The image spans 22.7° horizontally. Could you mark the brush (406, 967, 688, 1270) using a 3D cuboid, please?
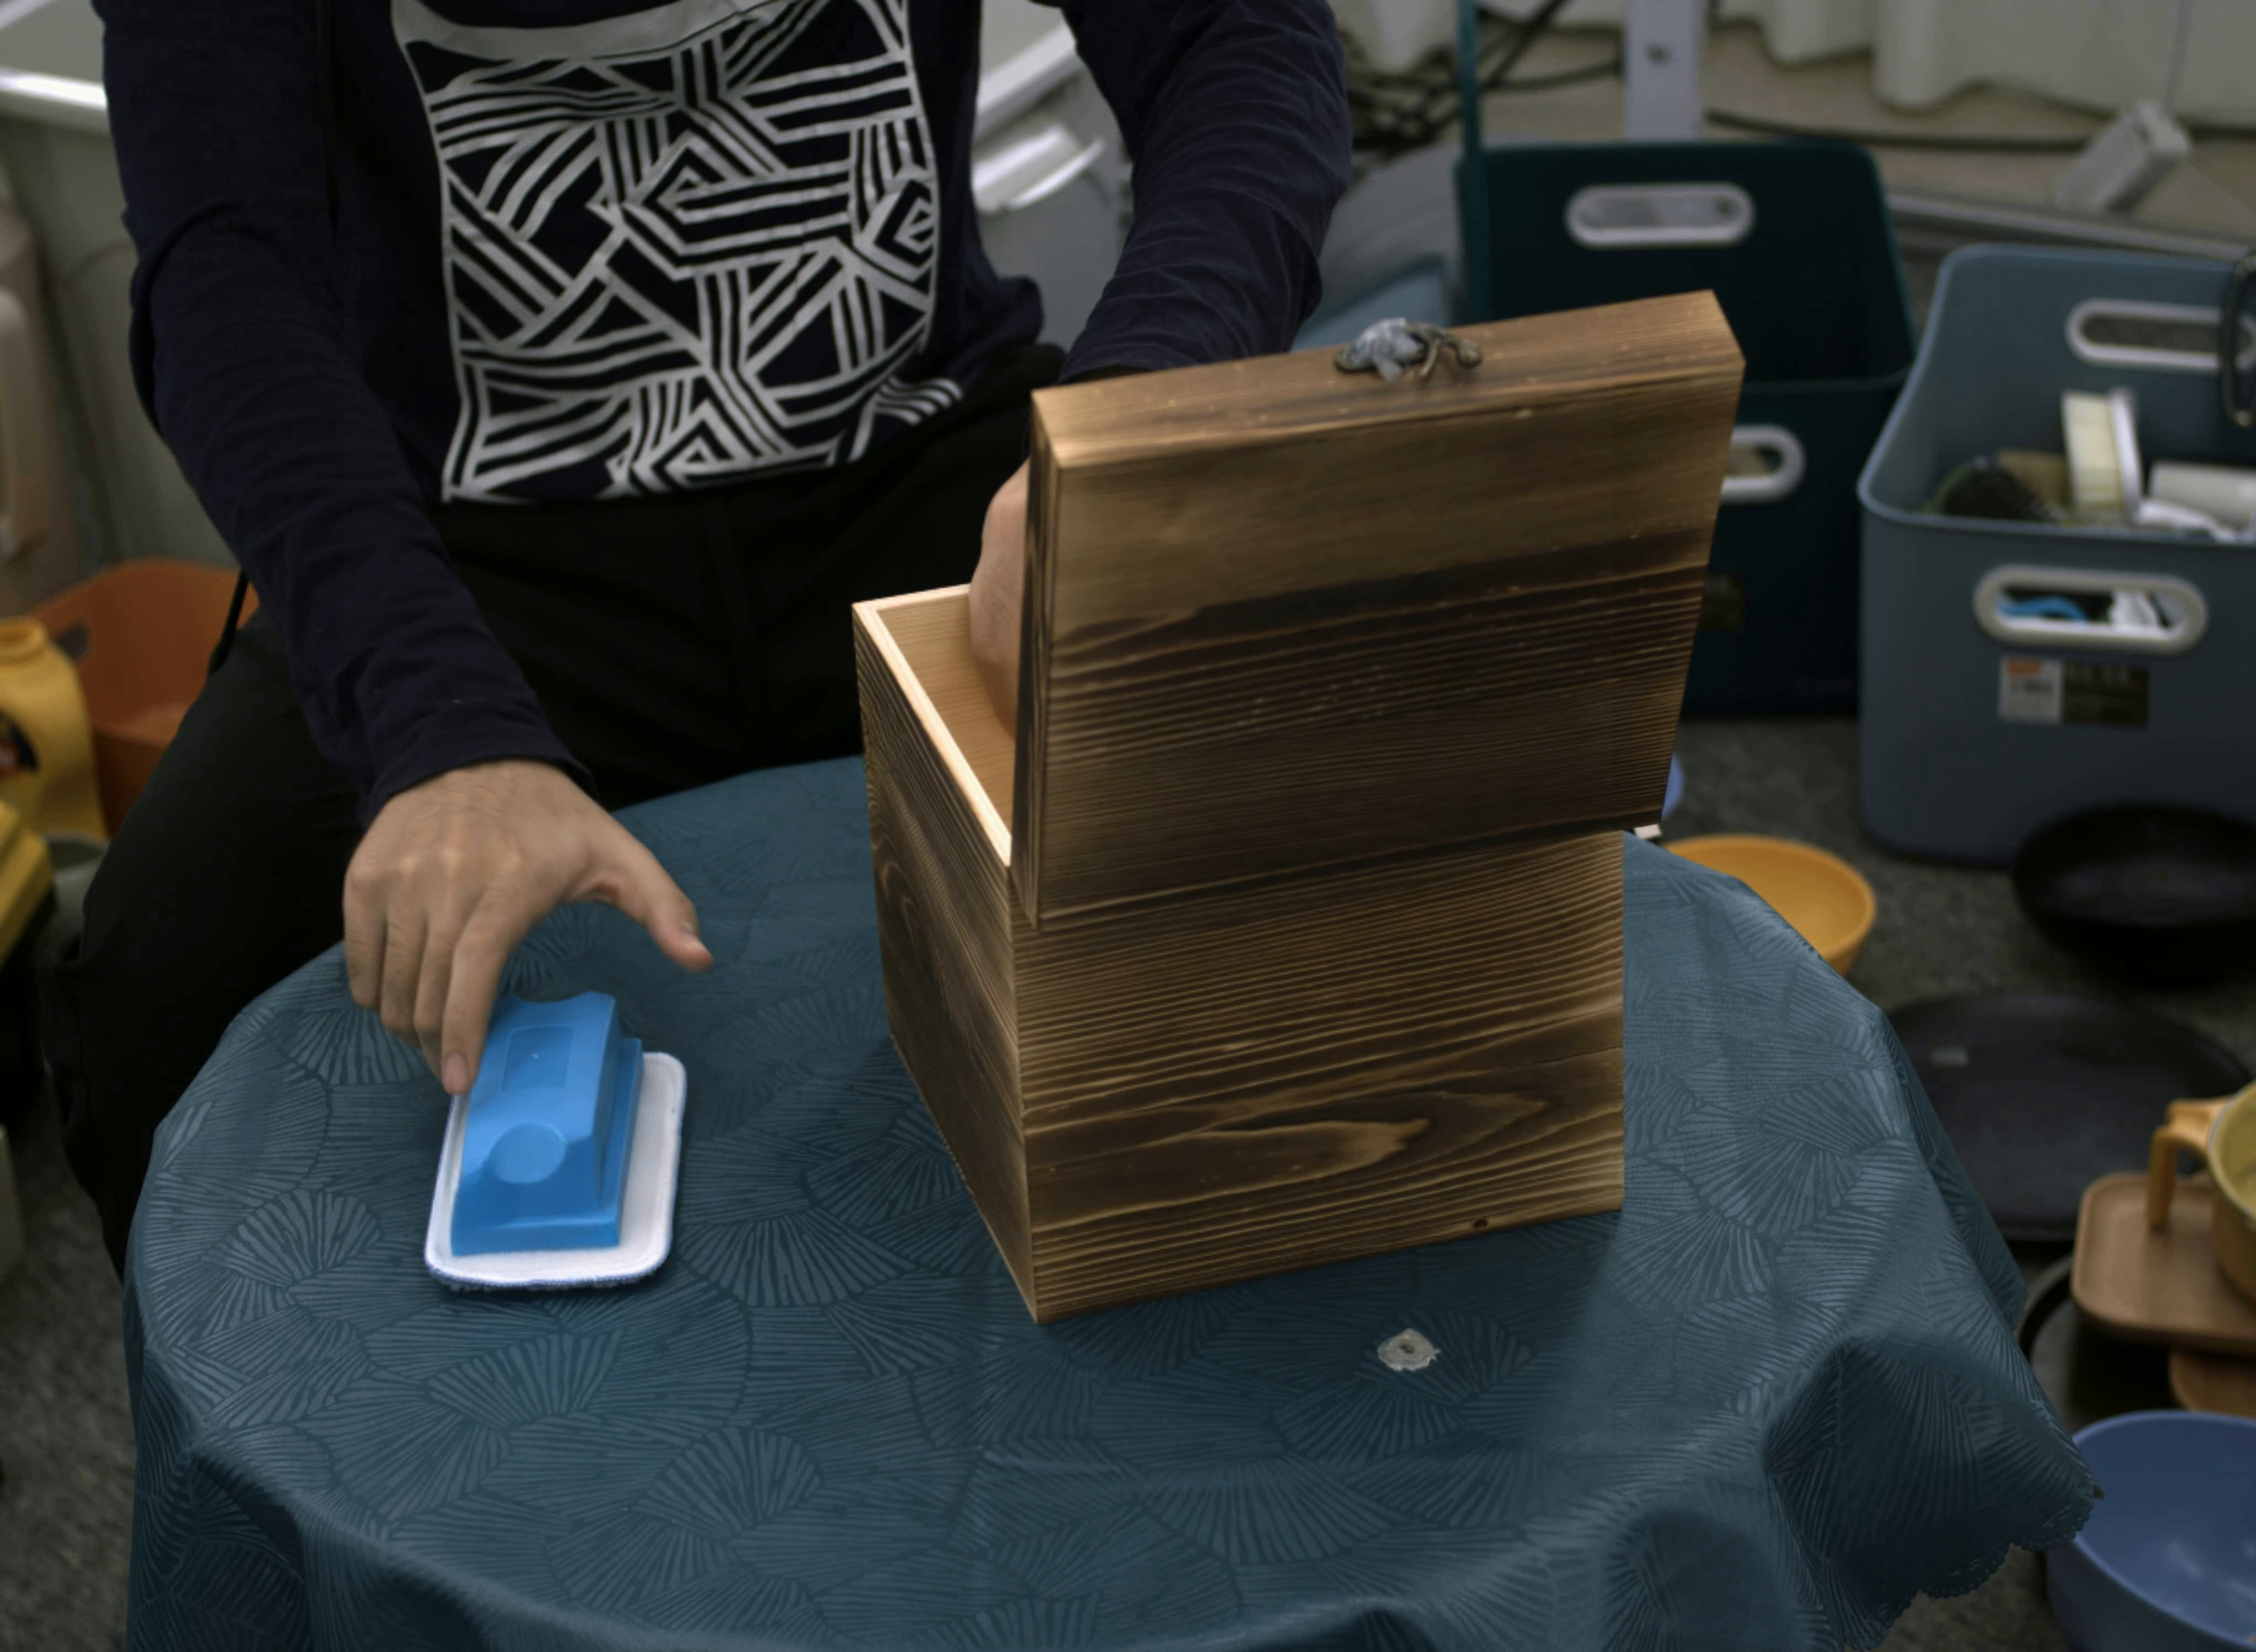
[{"bbox_3d":[-0.193,0.093,1.869,0.083,0.055,0.146,1,29,1],"label":"brush"}]

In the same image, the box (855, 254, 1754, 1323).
[{"bbox_3d":[0.046,-0.039,1.777,0.209,0.371,0.325,-9,27,-14],"label":"box"}]
